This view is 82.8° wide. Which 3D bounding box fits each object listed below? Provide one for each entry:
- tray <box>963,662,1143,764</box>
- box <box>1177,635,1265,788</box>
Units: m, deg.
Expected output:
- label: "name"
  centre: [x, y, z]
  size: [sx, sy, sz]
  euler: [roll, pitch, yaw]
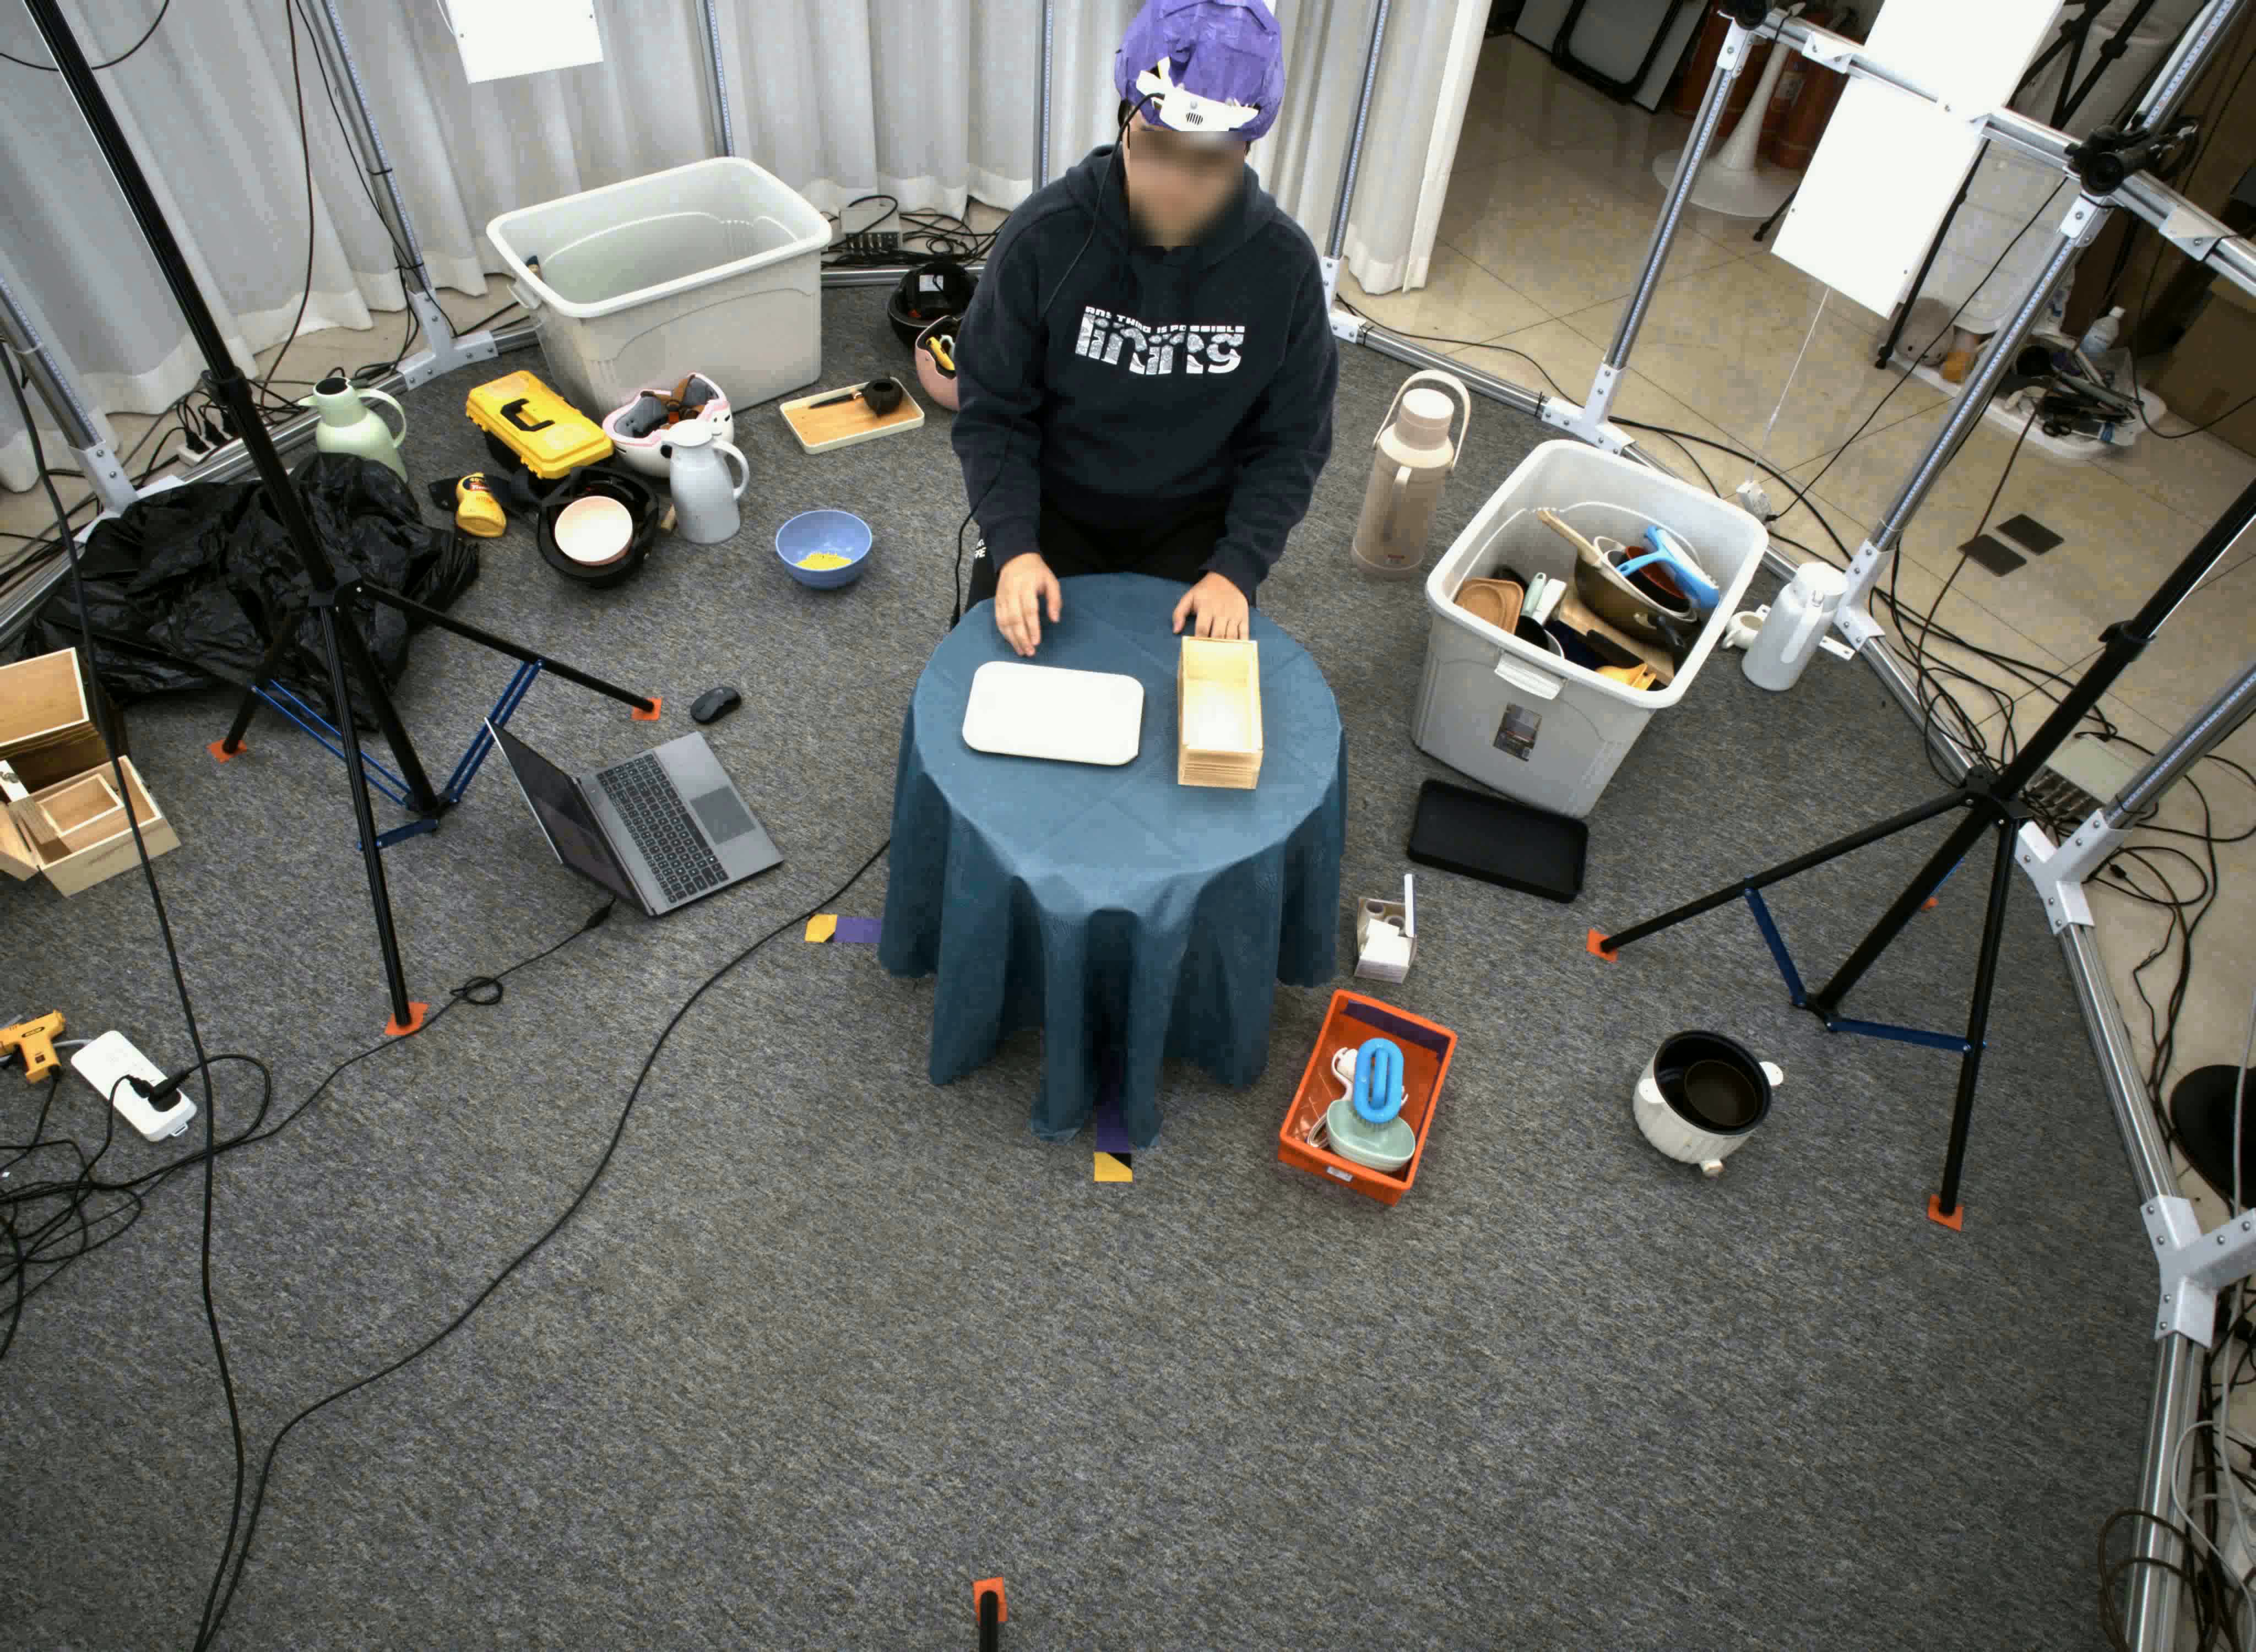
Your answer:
- label: "tray"
  centre: [-0.101, -0.156, 1.782]
  size: [0.239, 0.017, 0.175]
  euler: [6, 48, 1]
- label: "box"
  centre: [0.125, -0.159, 1.762]
  size: [0.107, 0.078, 0.217]
  euler: [3, 49, -2]
